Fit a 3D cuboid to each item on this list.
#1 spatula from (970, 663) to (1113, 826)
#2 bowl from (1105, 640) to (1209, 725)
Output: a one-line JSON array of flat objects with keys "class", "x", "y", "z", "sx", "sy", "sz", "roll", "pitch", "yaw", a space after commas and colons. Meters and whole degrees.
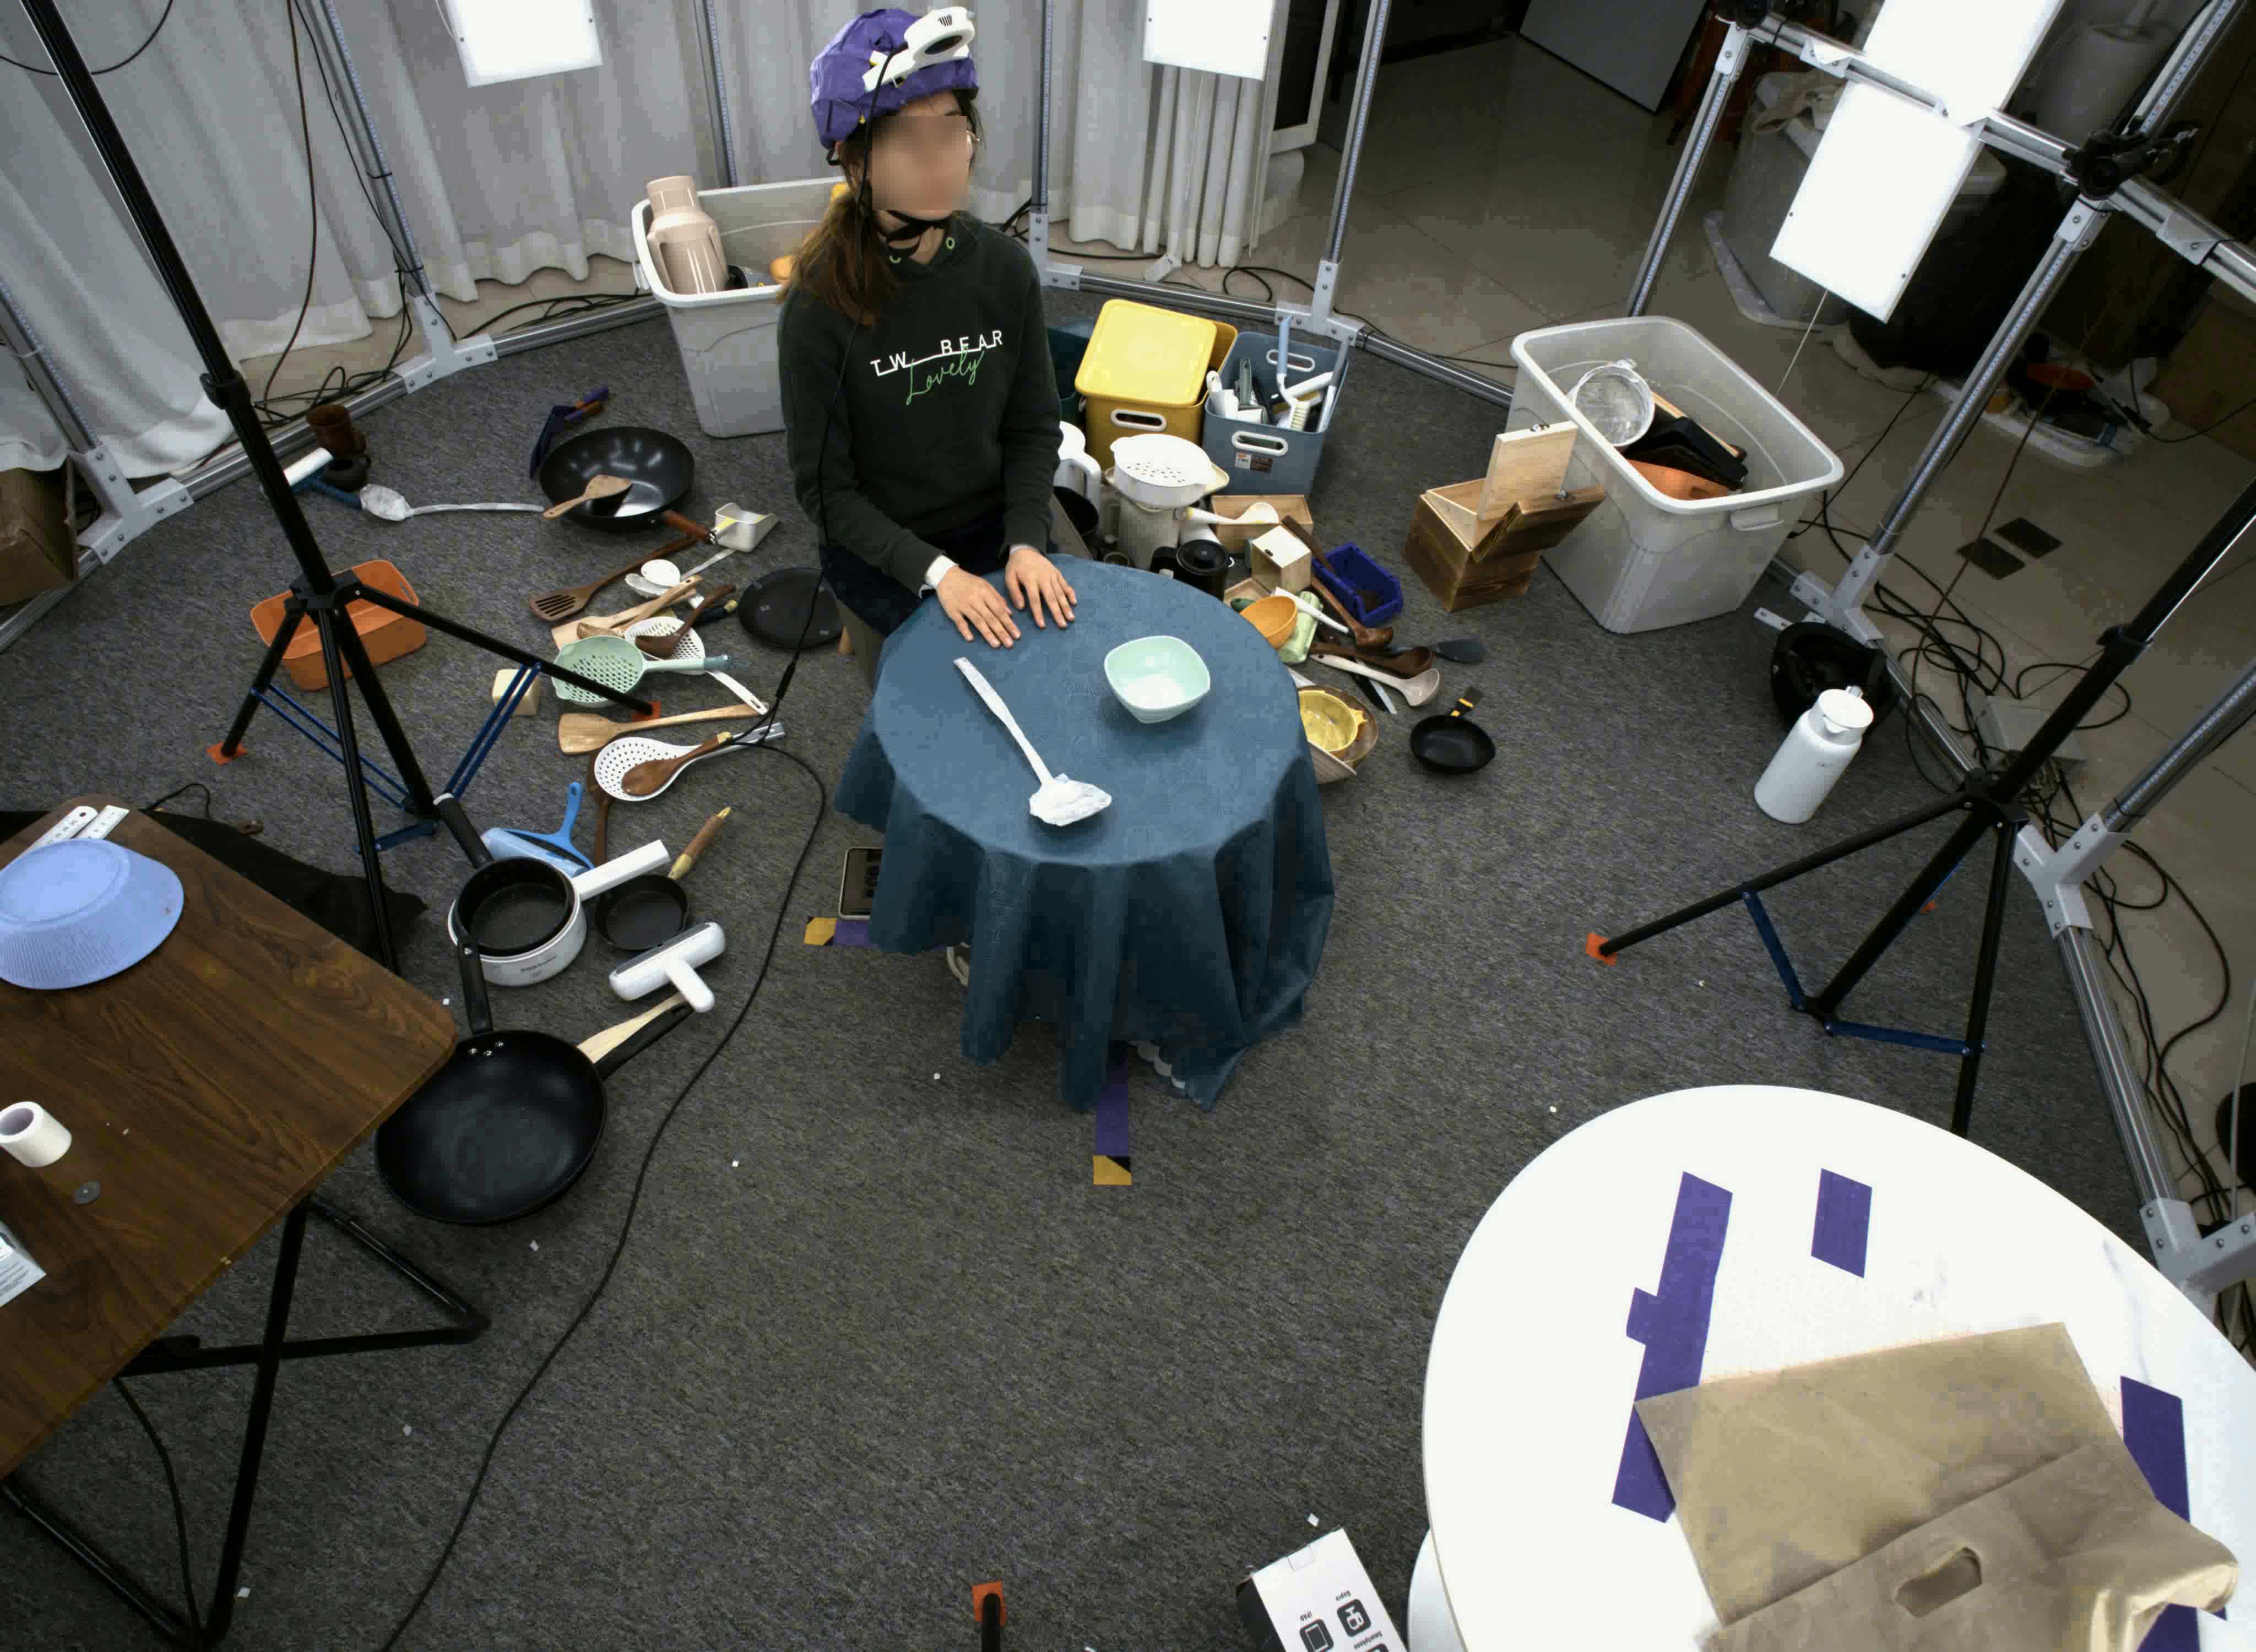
[{"class": "spatula", "x": -0.141, "y": -0.123, "z": 1.757, "sx": 0.099, "sy": 0.043, "sz": 0.373, "roll": -22, "pitch": 54, "yaw": -19}, {"class": "bowl", "x": 0.038, "y": -0.196, "z": 1.822, "sx": 0.151, "sy": 0.057, "sz": 0.155, "roll": 3, "pitch": 49, "yaw": -4}]
